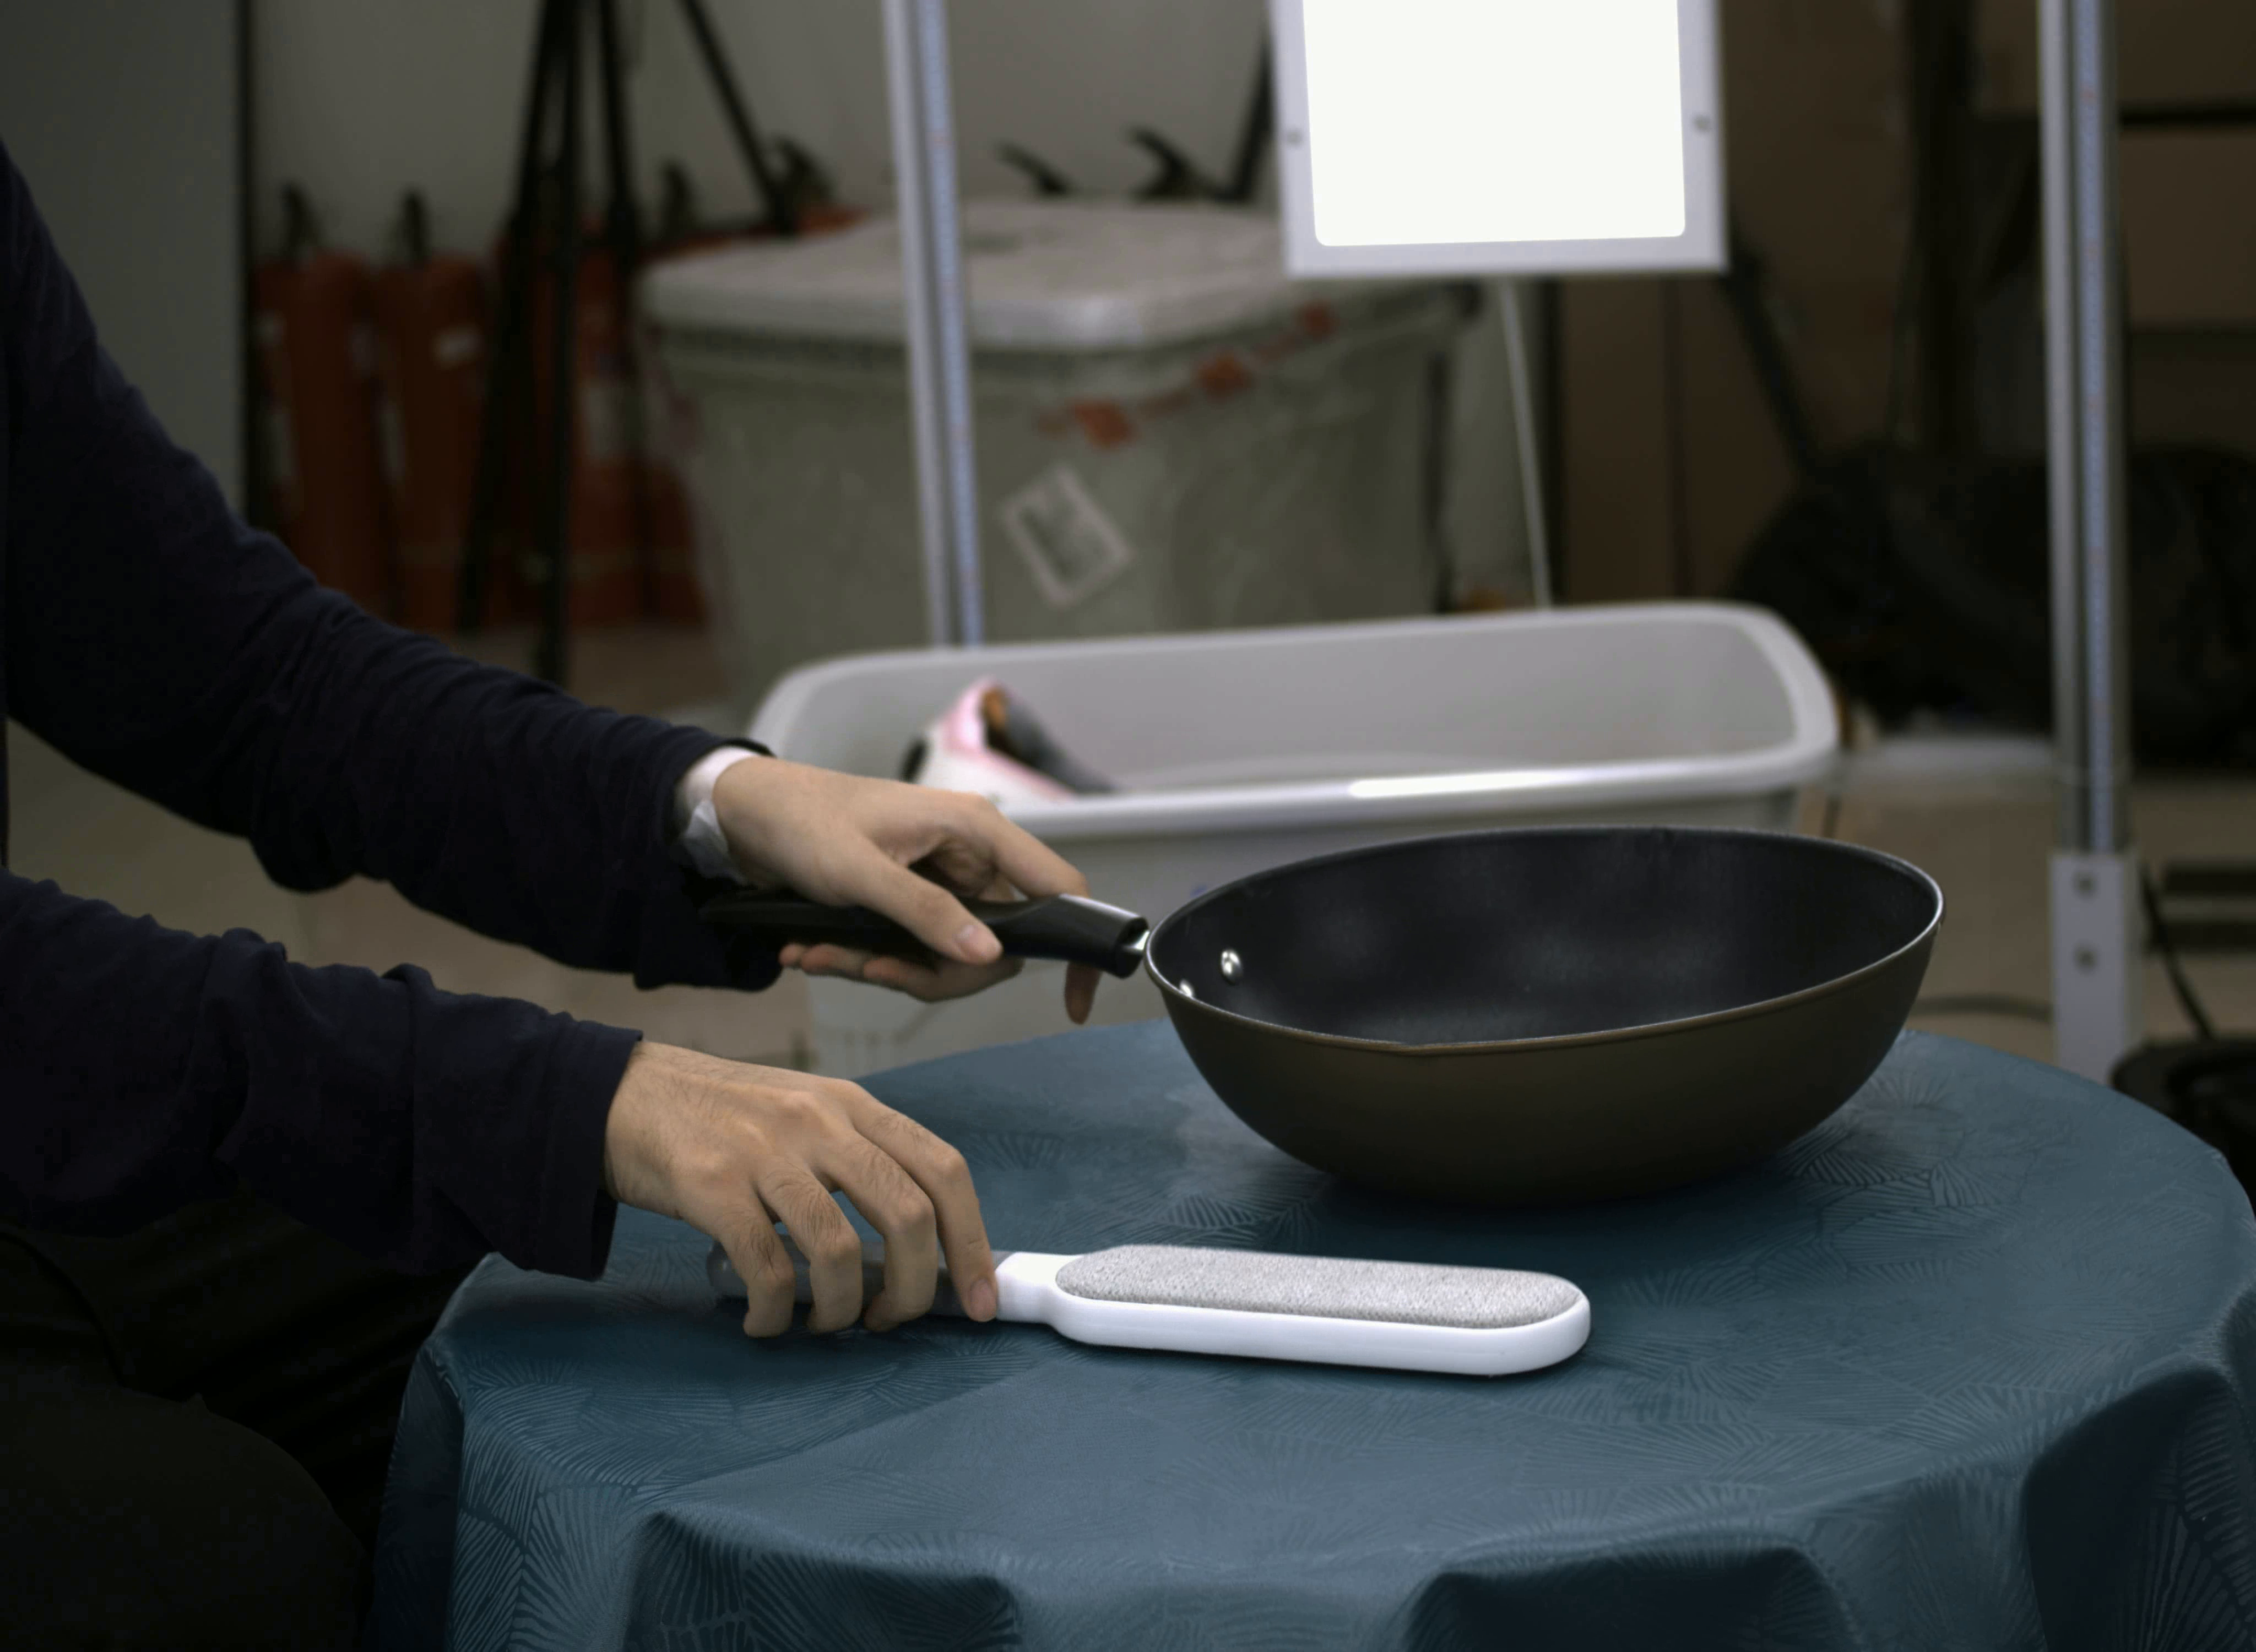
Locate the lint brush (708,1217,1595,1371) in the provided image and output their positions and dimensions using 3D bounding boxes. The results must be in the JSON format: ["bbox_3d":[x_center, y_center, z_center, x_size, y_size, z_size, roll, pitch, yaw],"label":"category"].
[{"bbox_3d":[0.002,0.145,1.761,0.314,0.021,0.059,2,23,27],"label":"lint brush"}]

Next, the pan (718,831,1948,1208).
[{"bbox_3d":[0.063,0.068,1.943,0.471,0.087,0.282,1,14,25],"label":"pan"}]
